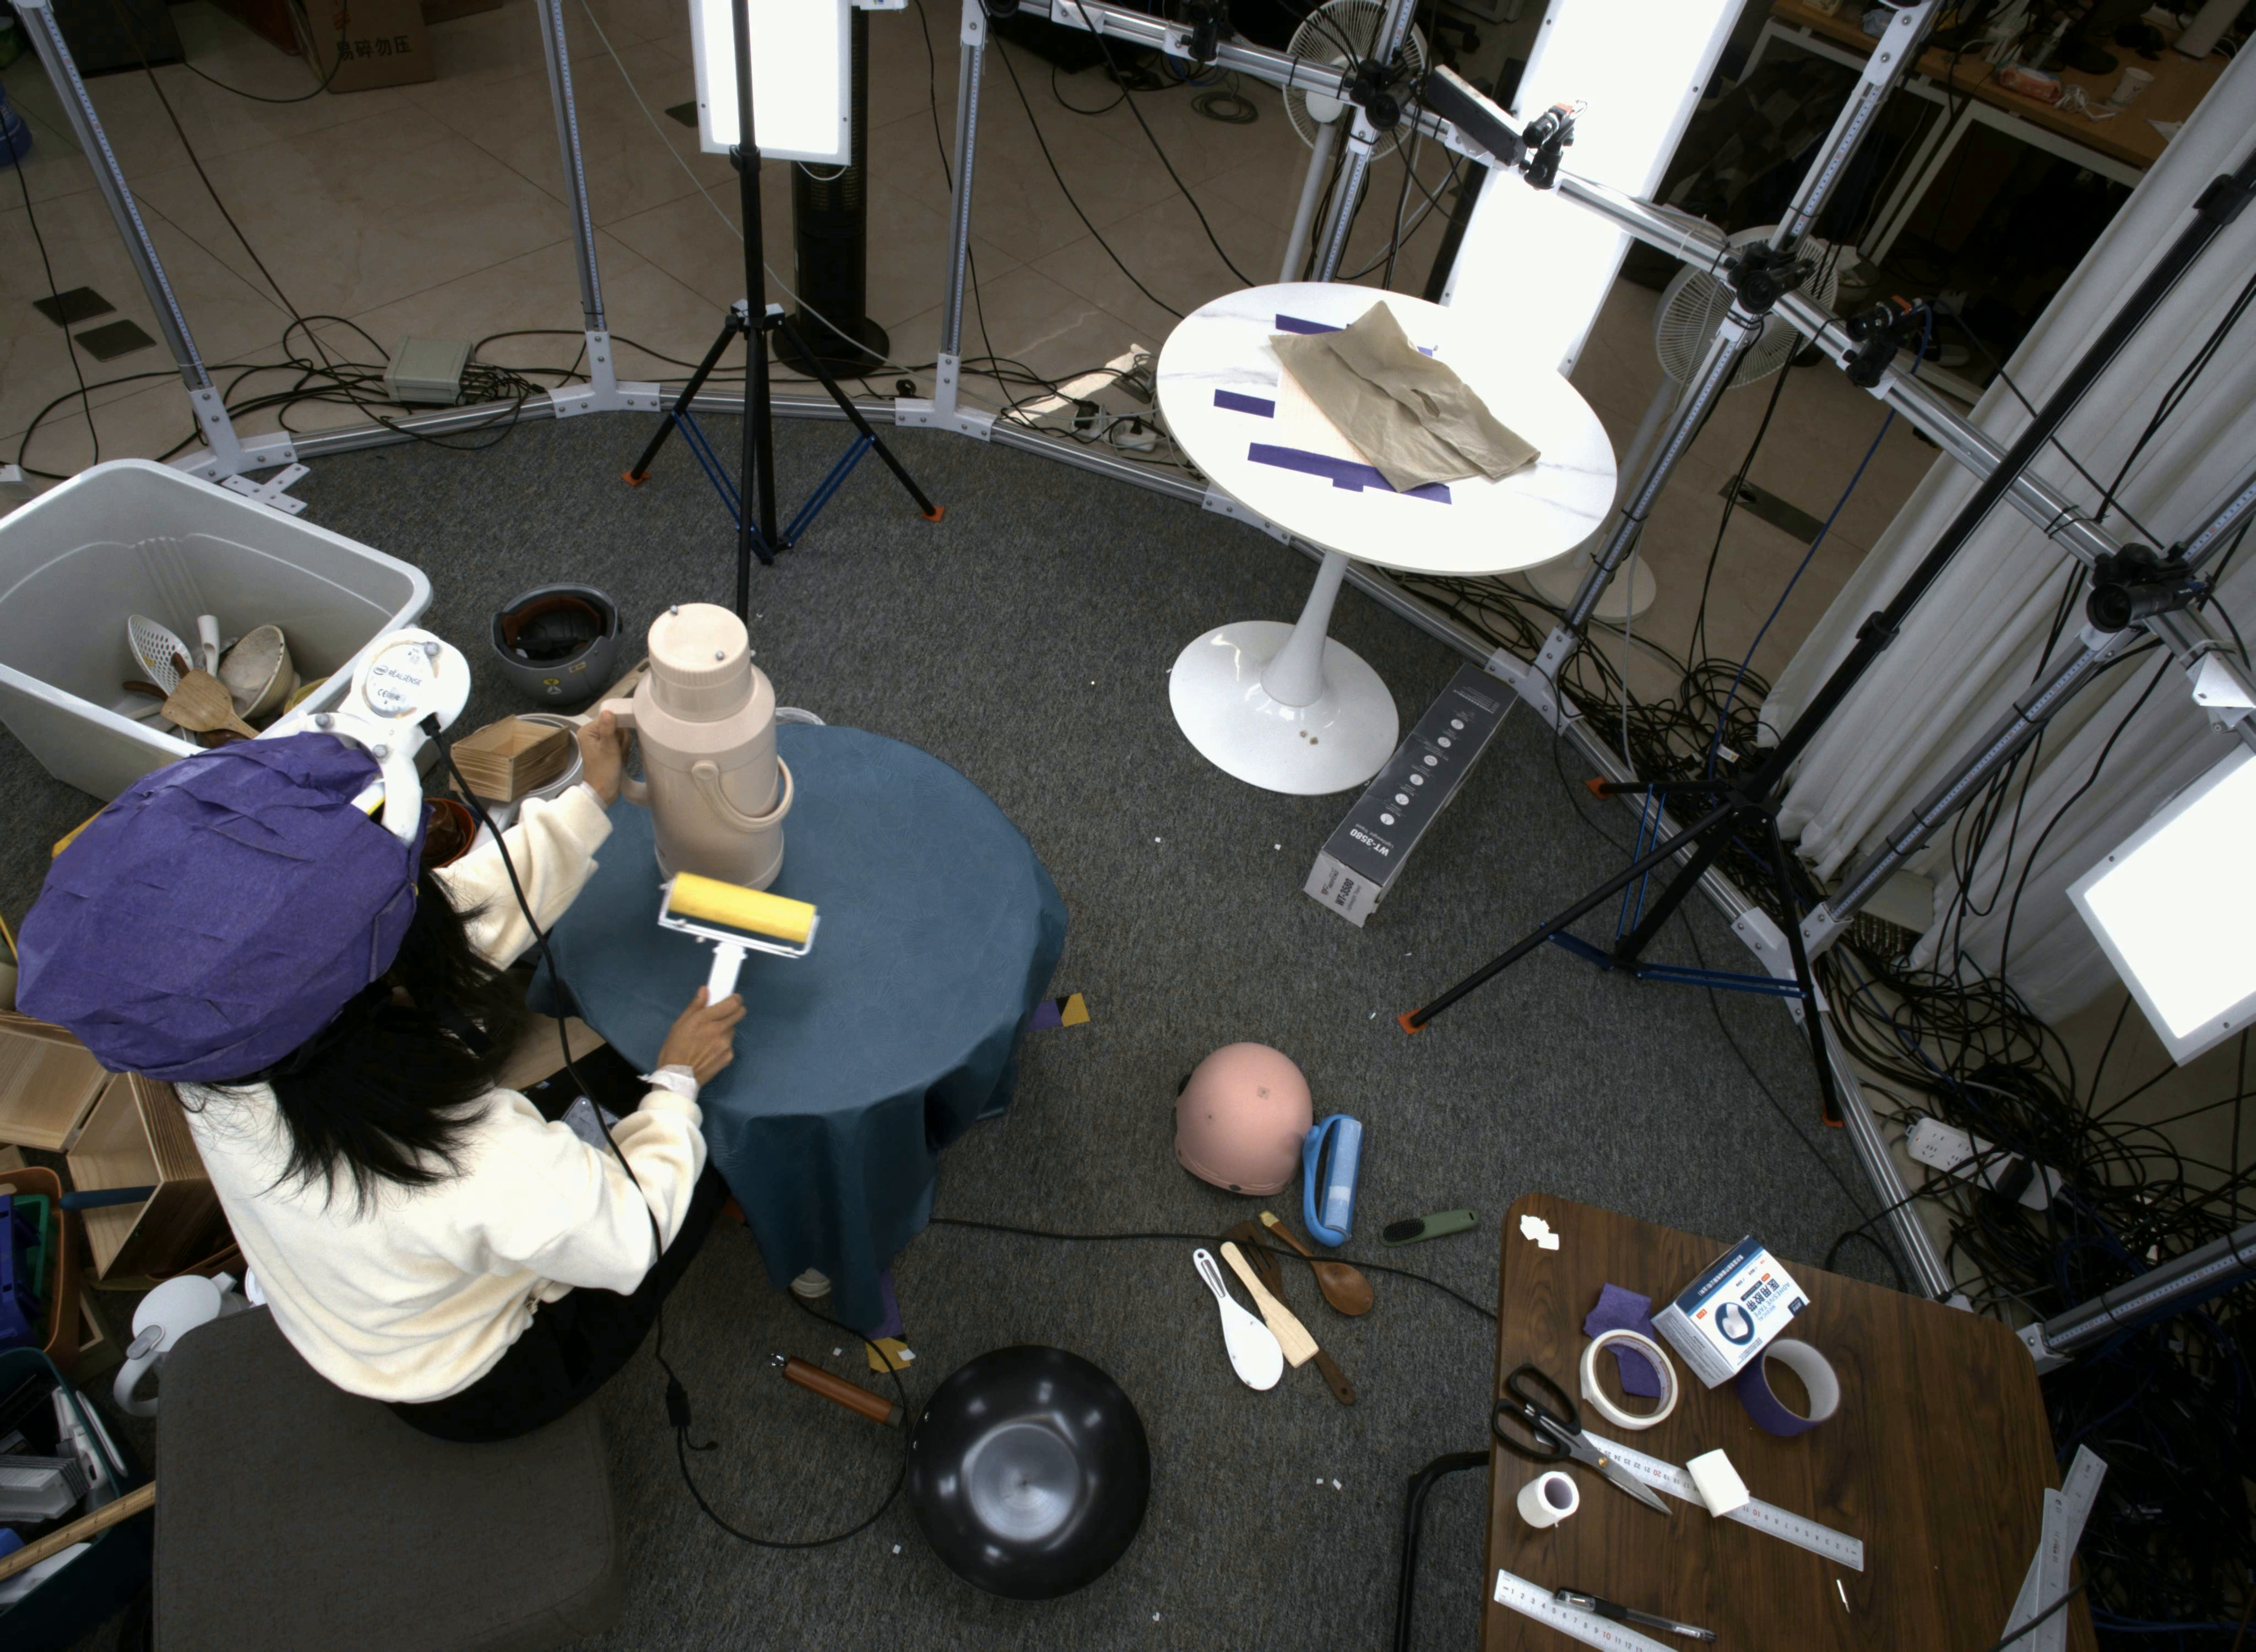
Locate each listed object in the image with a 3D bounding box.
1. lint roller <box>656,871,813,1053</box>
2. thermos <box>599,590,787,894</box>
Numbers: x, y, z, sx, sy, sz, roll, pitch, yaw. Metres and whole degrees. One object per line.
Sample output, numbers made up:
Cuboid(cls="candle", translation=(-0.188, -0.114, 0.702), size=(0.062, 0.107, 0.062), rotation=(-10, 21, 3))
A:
Cuboid(cls="lint roller", translation=(-0.462, 0.157, 1.474), size=(0.176, 0.051, 0.190), rotation=(14, 64, -18))
Cuboid(cls="thermos", translation=(-0.507, -0.087, 1.505), size=(0.207, 0.415, 0.171), rotation=(-4, 53, -15))
